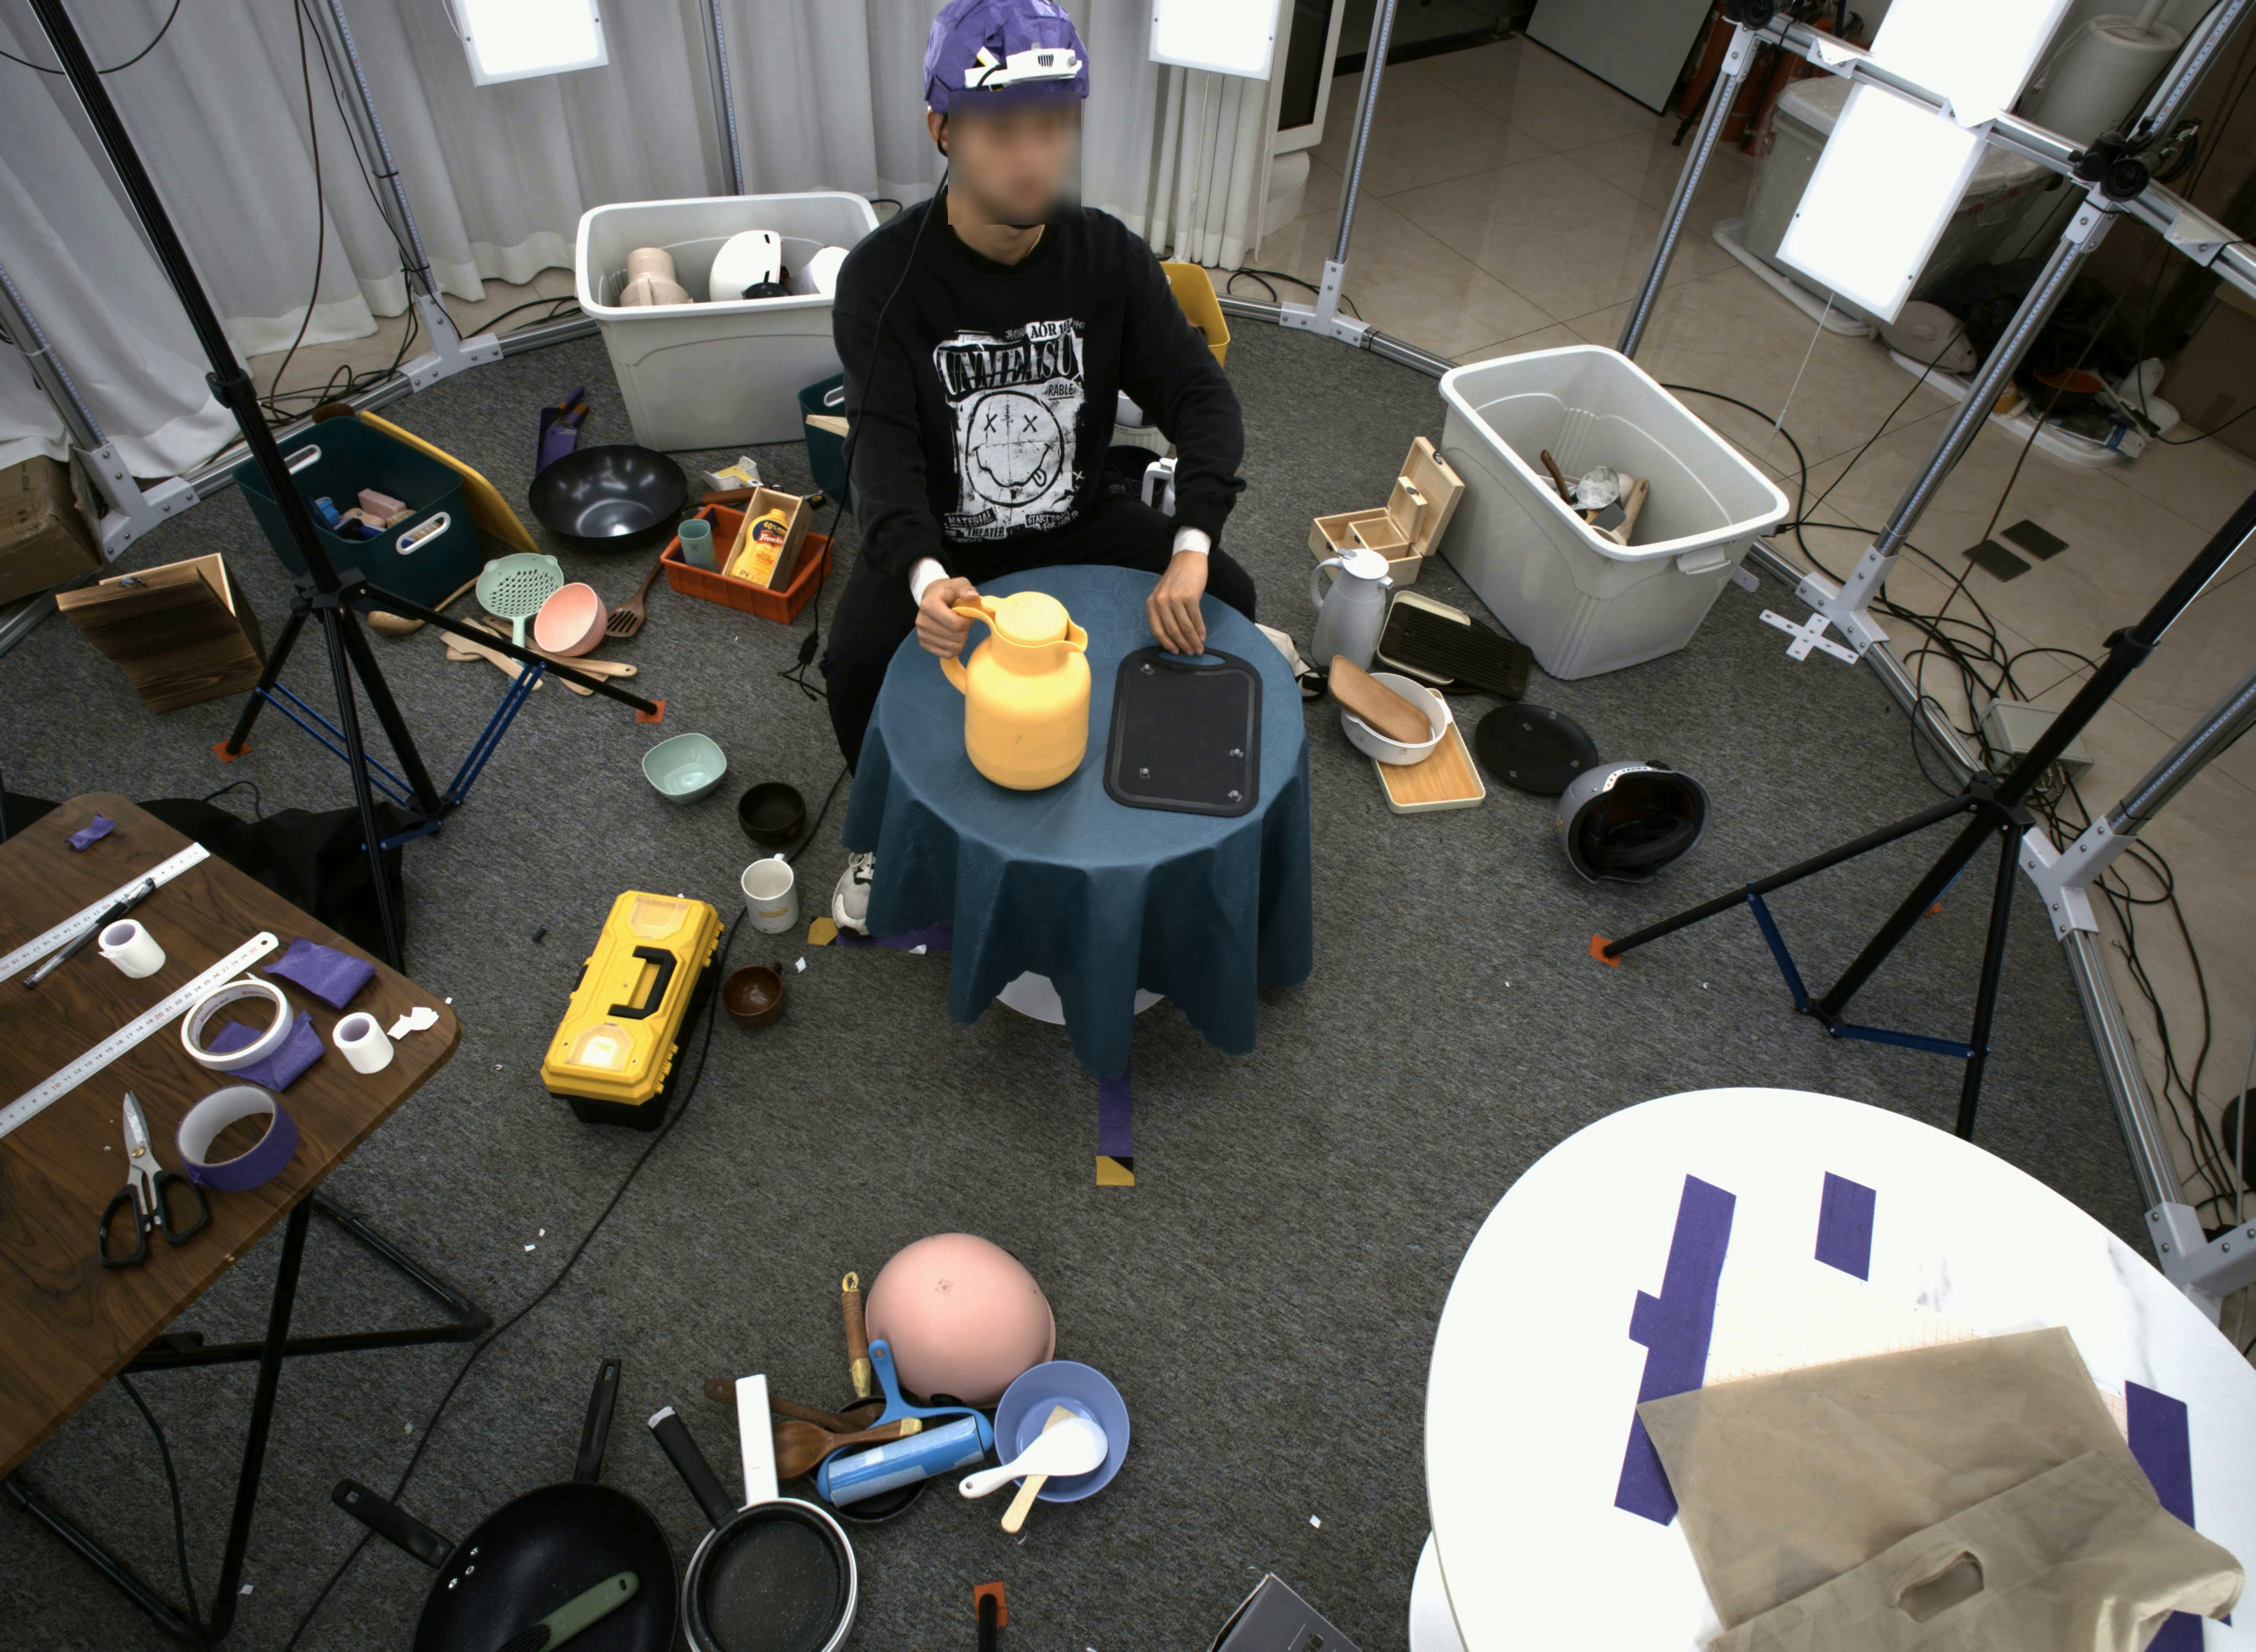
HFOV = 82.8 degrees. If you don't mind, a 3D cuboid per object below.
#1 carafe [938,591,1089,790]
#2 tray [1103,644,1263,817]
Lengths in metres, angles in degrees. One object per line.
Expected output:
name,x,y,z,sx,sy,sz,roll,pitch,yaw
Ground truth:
carafe,-0.148,-0.186,1.650,0.203,0.254,0.166,24,48,12
tray,0.082,-0.144,1.795,0.211,0.009,0.333,6,49,2
